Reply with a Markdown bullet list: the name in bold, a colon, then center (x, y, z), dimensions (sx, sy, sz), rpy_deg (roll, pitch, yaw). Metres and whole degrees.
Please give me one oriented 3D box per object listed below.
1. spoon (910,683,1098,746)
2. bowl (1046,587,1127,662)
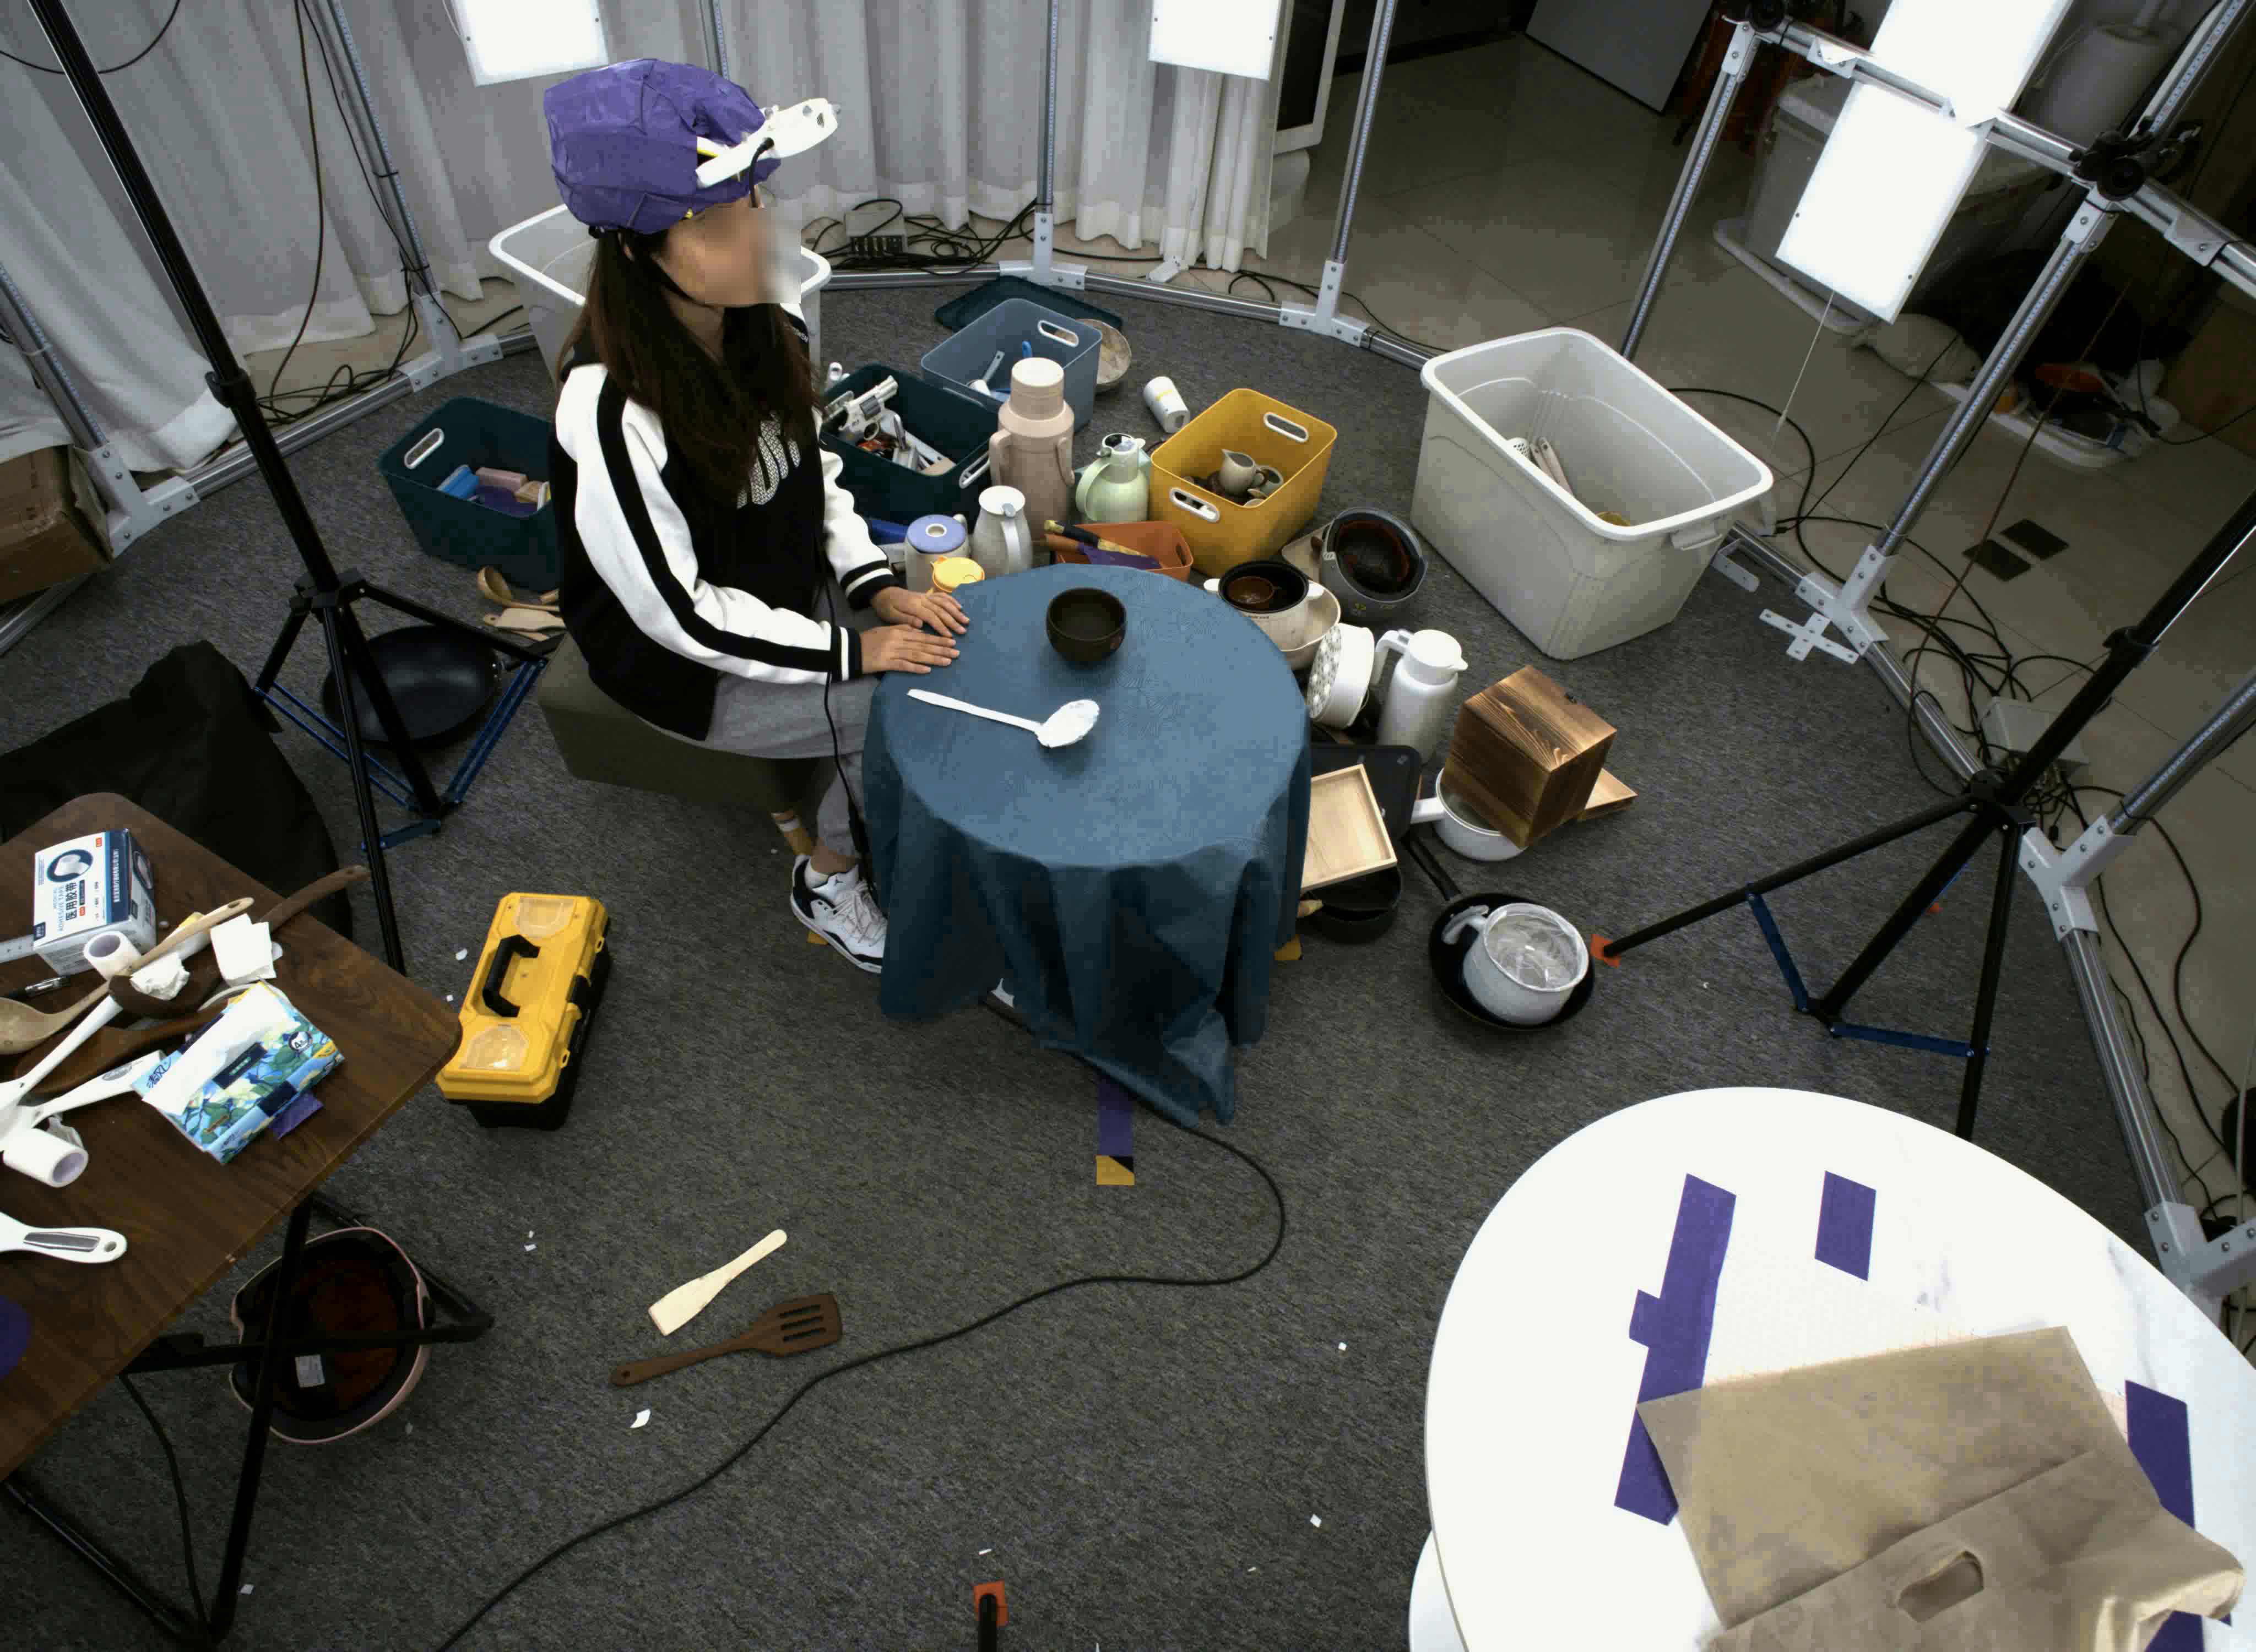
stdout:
- **spoon**: center (-0.173, -0.174, 1.772), dimensions (0.278, 0.058, 0.102), rpy_deg (19, 48, 12)
- **bowl**: center (-0.061, -0.284, 1.865), dimensions (0.118, 0.068, 0.121), rpy_deg (2, 49, -2)
